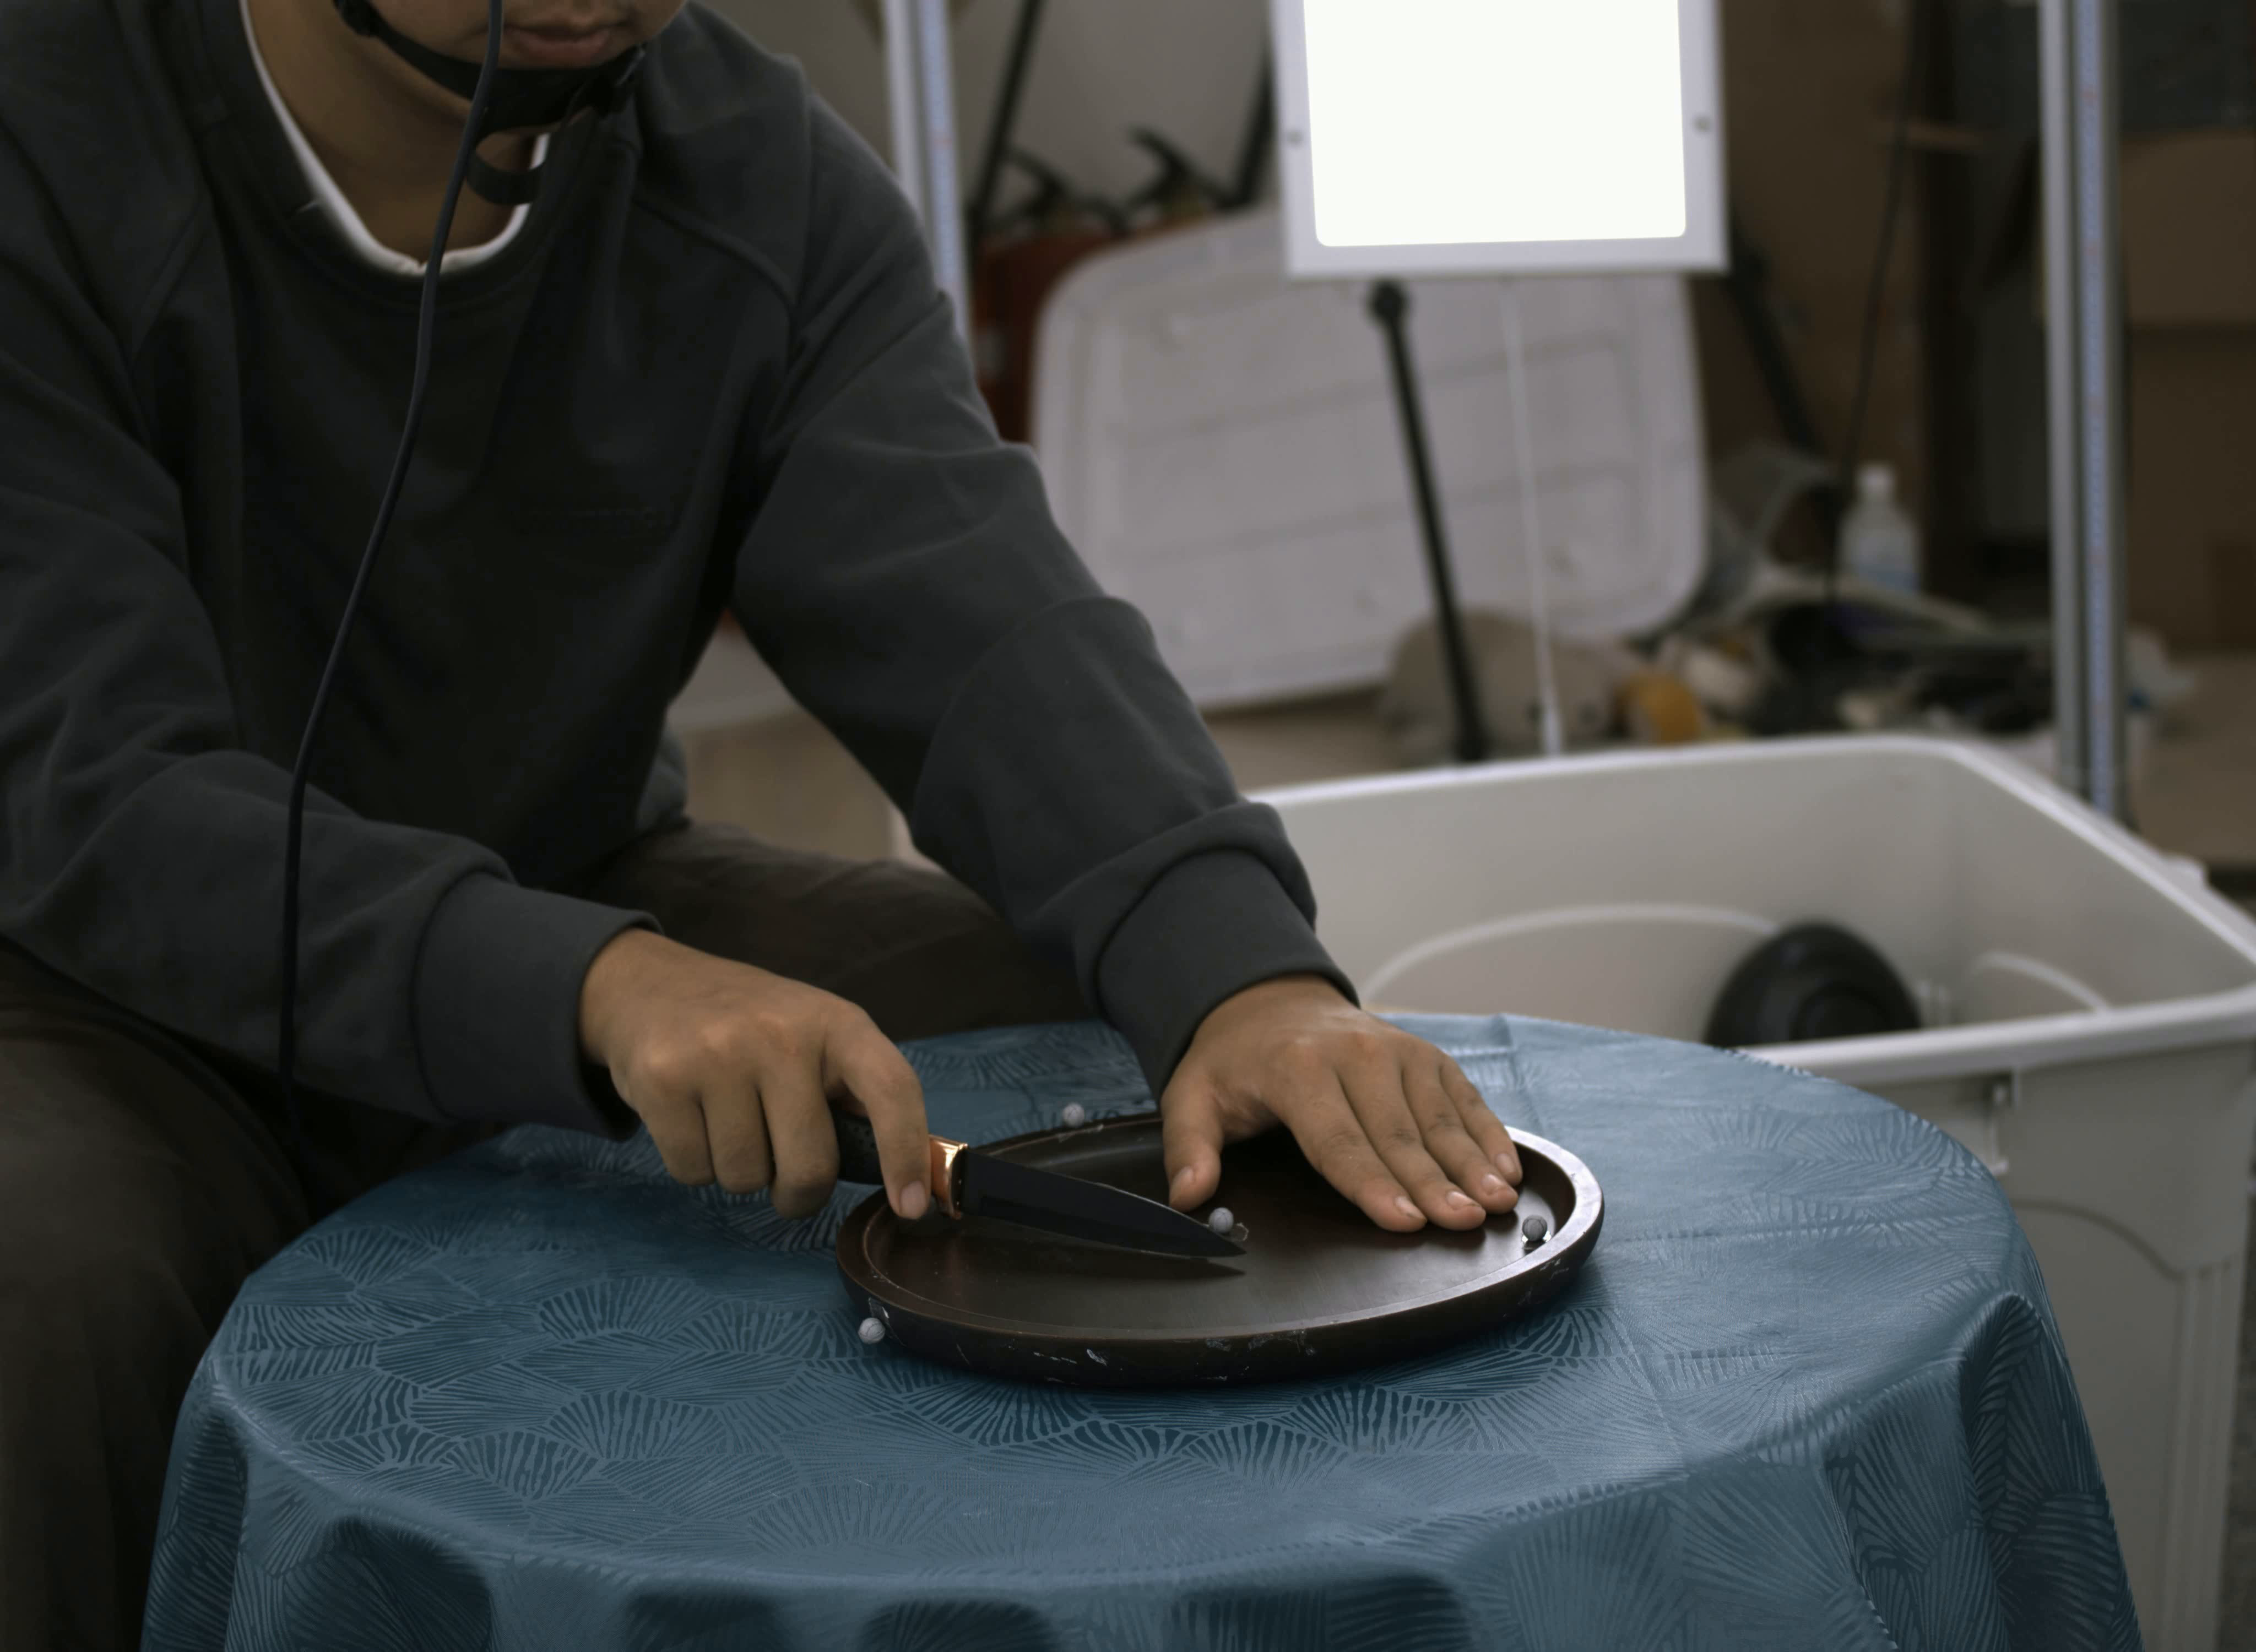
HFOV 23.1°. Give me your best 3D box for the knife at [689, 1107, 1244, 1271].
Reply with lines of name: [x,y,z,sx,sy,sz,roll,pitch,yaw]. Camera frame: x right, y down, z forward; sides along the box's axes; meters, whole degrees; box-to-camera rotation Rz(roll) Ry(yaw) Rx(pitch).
knife: [-0.053,0.123,1.832,0.230,0.026,0.017,11,17,32]

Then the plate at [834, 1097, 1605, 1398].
plate: [0.030,0.136,1.801,0.254,0.029,0.254,-6,13,0]
